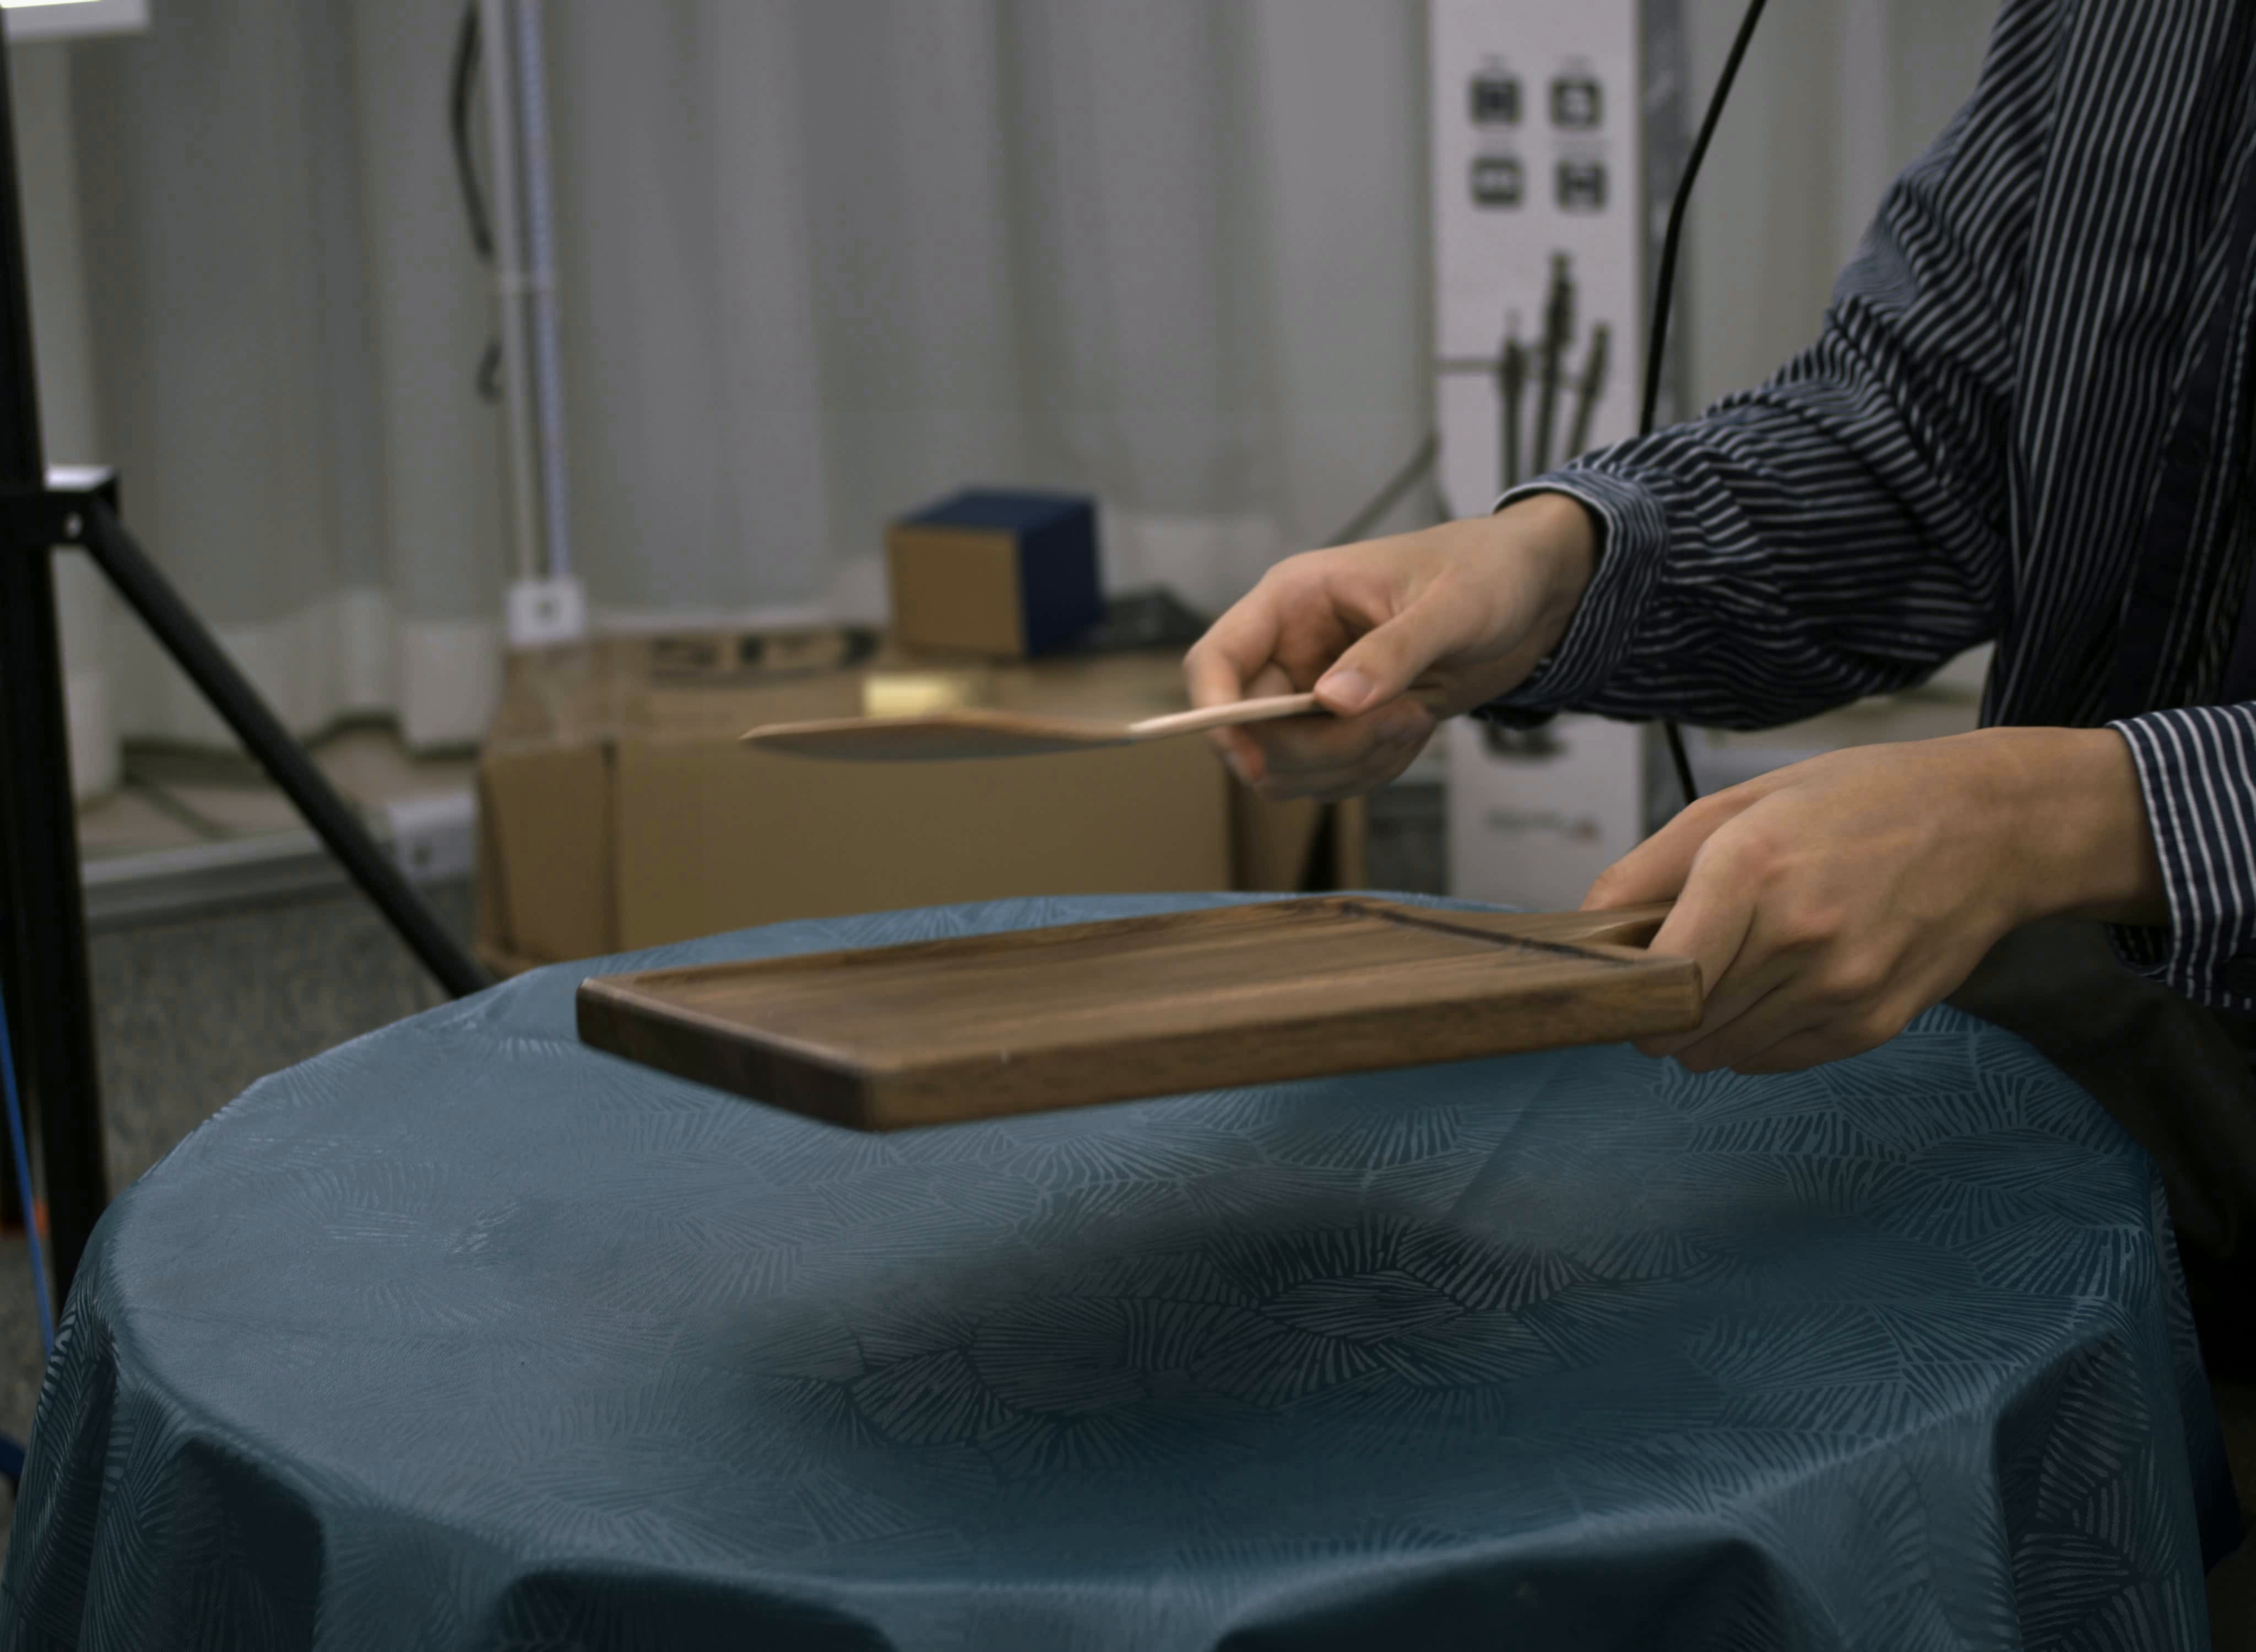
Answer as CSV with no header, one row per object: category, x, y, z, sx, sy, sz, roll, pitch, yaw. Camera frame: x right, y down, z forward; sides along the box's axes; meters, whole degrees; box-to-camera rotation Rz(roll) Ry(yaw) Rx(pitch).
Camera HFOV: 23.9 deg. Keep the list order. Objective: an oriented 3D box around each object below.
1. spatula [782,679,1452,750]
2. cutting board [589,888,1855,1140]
spatula,0.017,-0.037,1.609,0.081,0.016,0.320,-5,2,32
cutting board,0.049,0.044,1.444,0.345,0.023,0.205,-5,8,-24
